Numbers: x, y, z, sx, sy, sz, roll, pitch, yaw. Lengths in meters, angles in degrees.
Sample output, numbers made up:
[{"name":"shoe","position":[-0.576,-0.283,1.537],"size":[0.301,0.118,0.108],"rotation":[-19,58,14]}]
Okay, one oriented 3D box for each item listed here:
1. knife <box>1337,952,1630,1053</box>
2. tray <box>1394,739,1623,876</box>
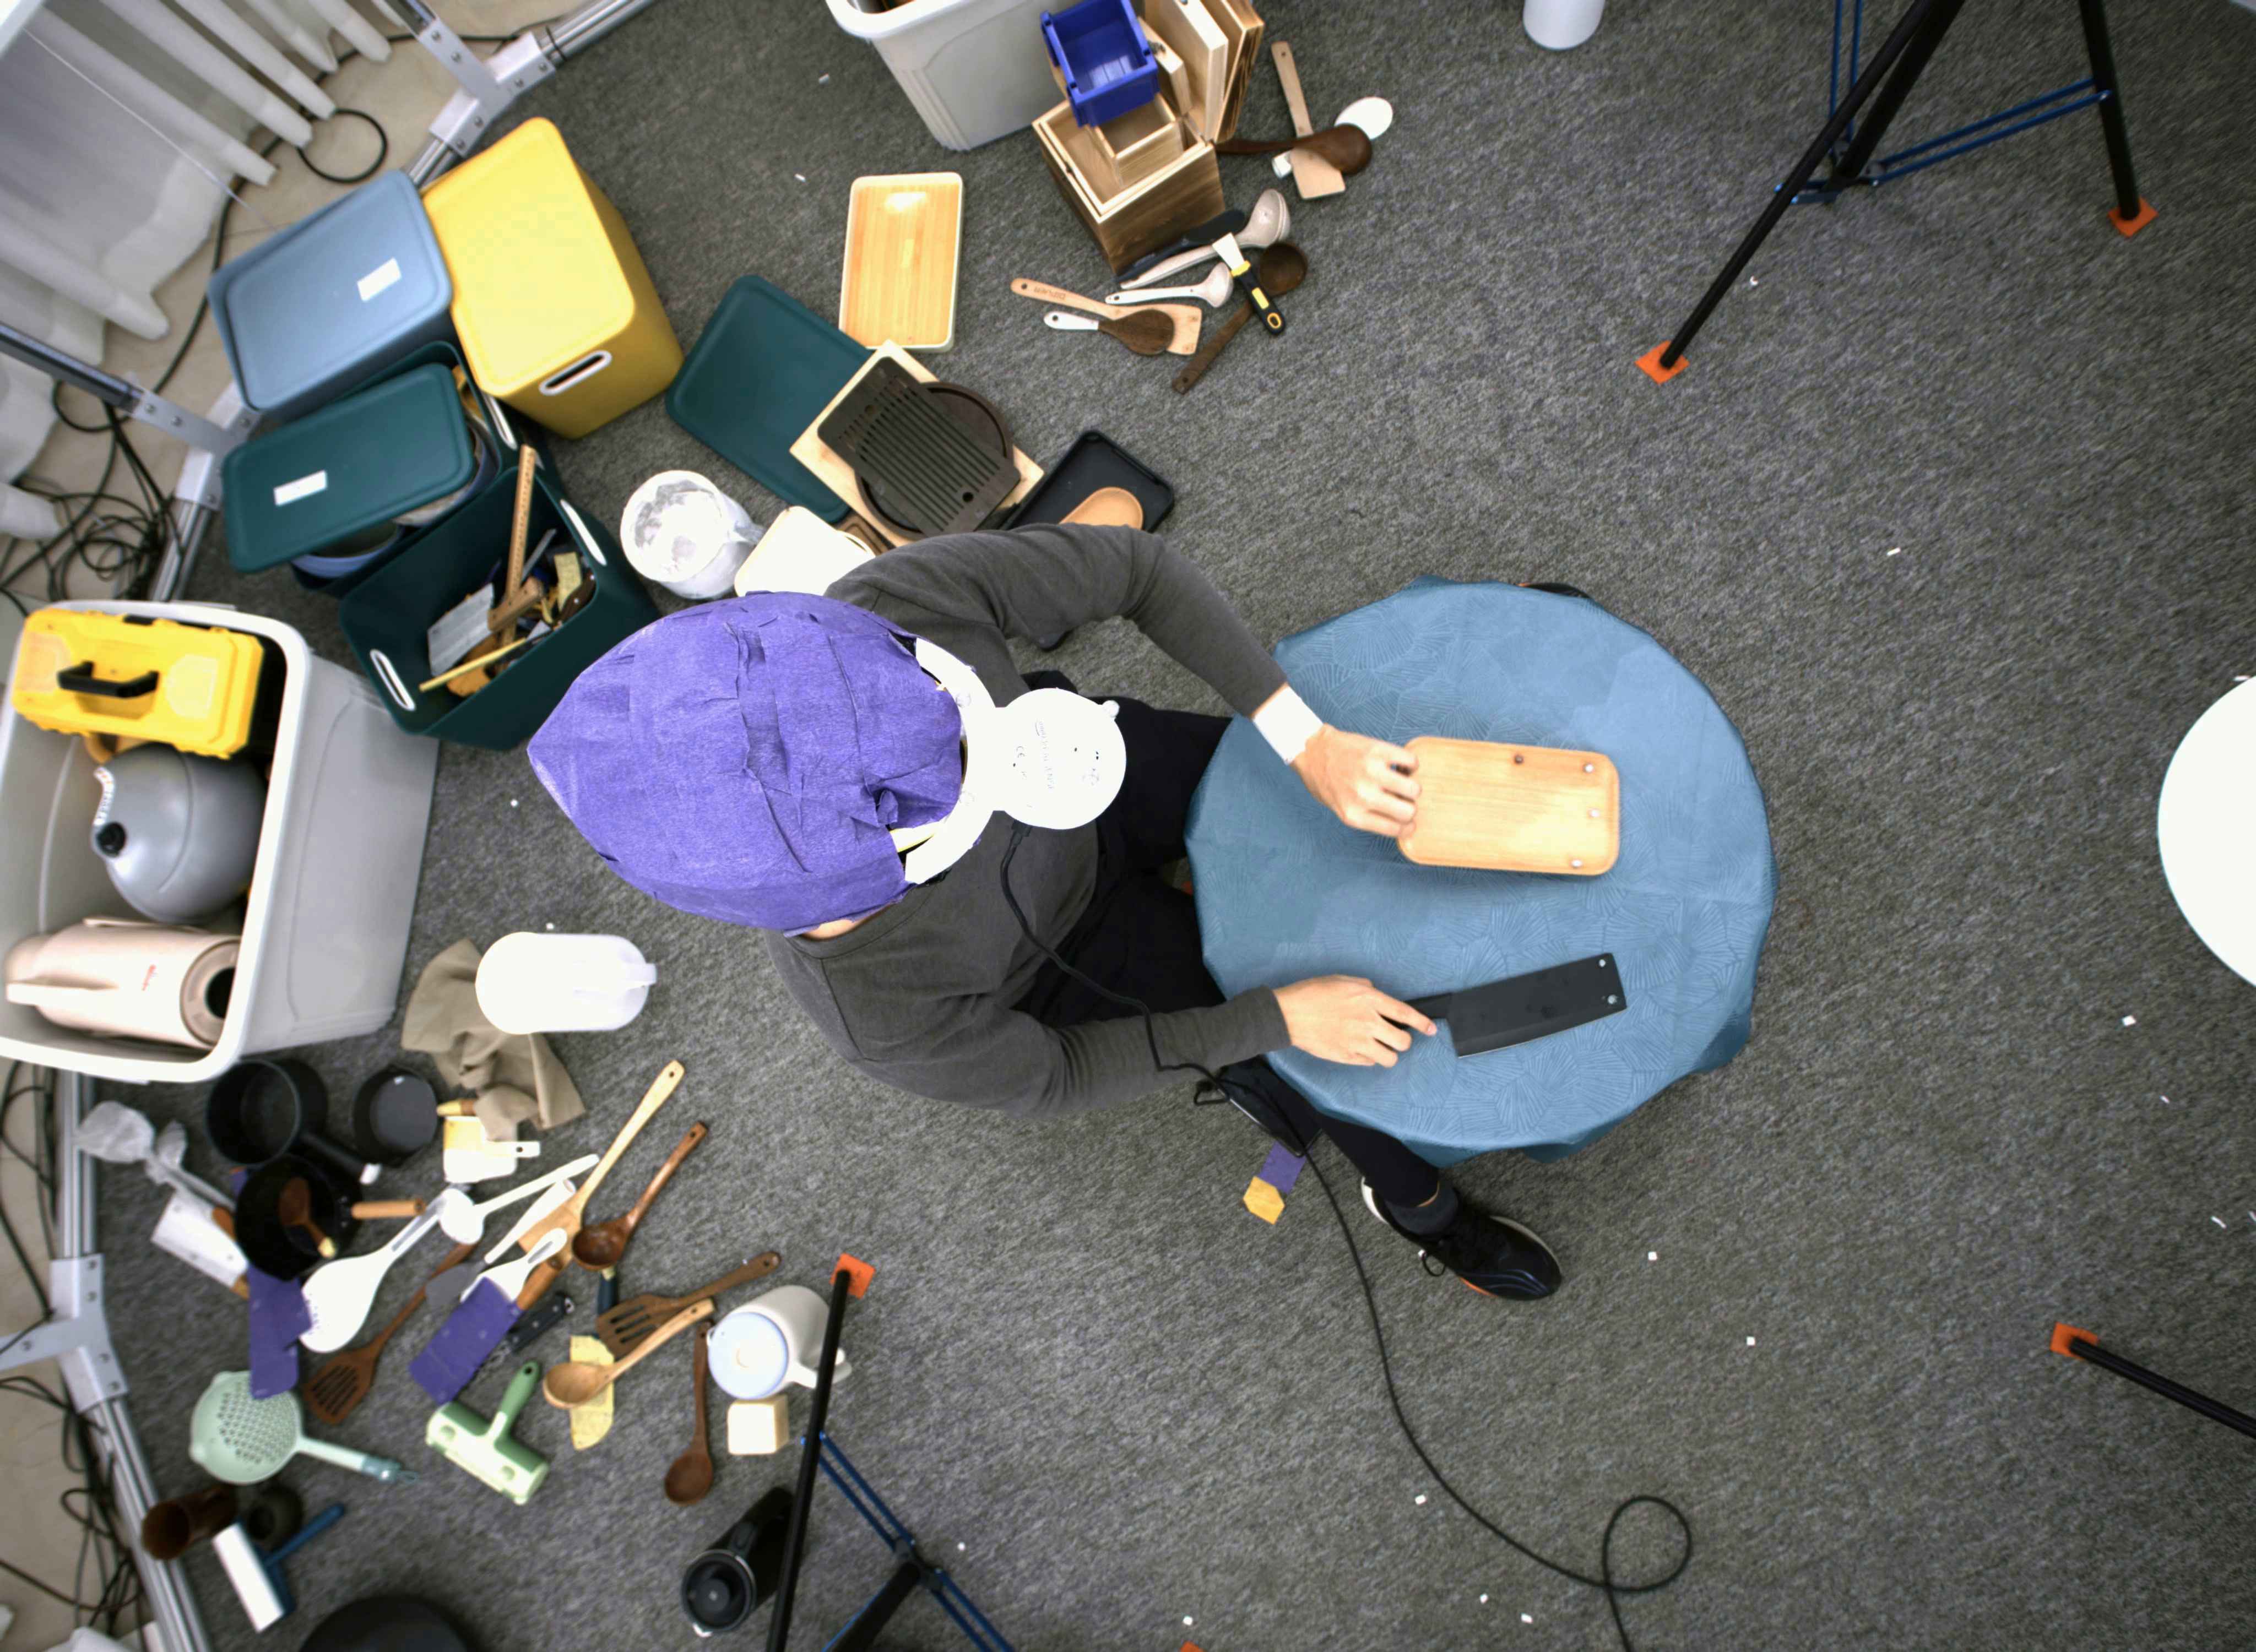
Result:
[{"name":"knife","position":[0.365,0.192,1.428],"size":[0.304,0.021,0.080],"rotation":[-11,86,8]},{"name":"tray","position":[0.386,-0.019,1.389],"size":[0.250,0.023,0.130],"rotation":[3,84,-11]}]
